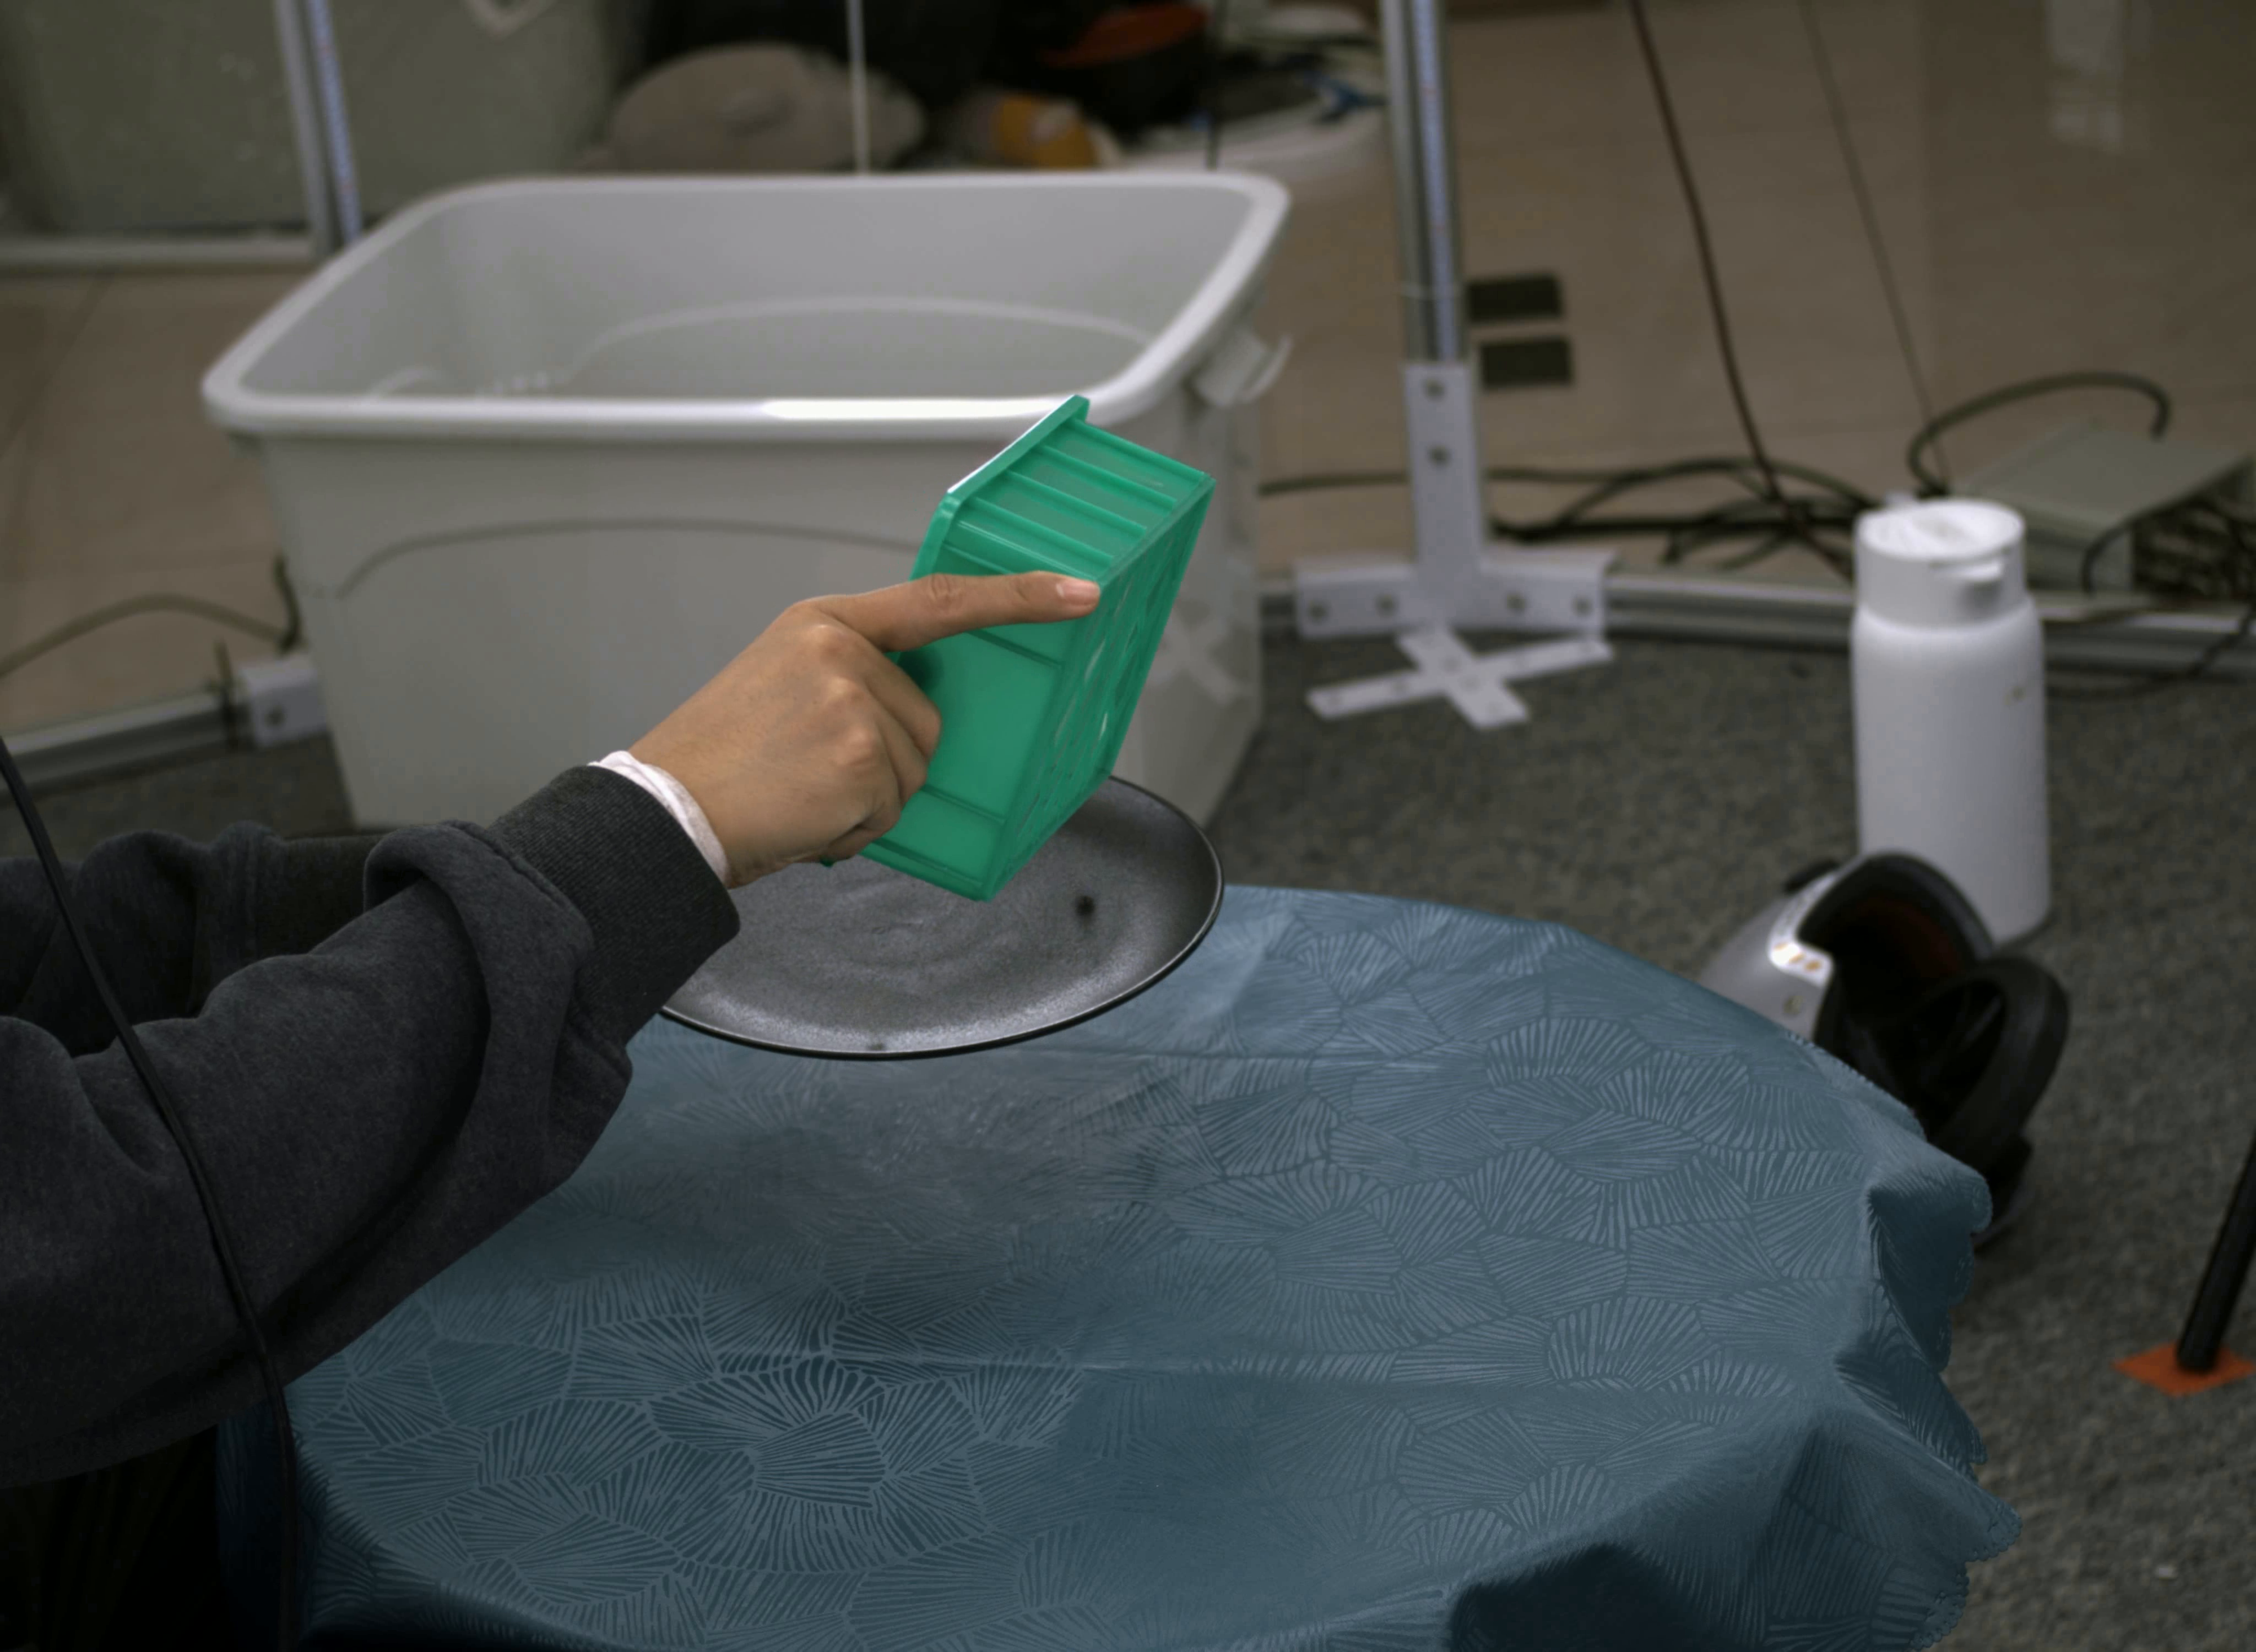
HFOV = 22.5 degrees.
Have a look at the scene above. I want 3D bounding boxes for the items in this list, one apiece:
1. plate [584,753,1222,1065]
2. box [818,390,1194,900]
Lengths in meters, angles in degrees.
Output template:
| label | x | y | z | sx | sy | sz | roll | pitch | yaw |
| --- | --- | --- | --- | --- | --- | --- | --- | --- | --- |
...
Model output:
| label | x | y | z | sx | sy | sz | roll | pitch | yaw |
| --- | --- | --- | --- | --- | --- | --- | --- | --- | --- |
| plate | -0.085 | 0.035 | 2.154 | 0.244 | 0.024 | 0.240 | -2 | 29 | 1 |
| box | -0.037 | -0.061 | 1.940 | 0.065 | 0.140 | 0.208 | 21 | 18 | 3 |
